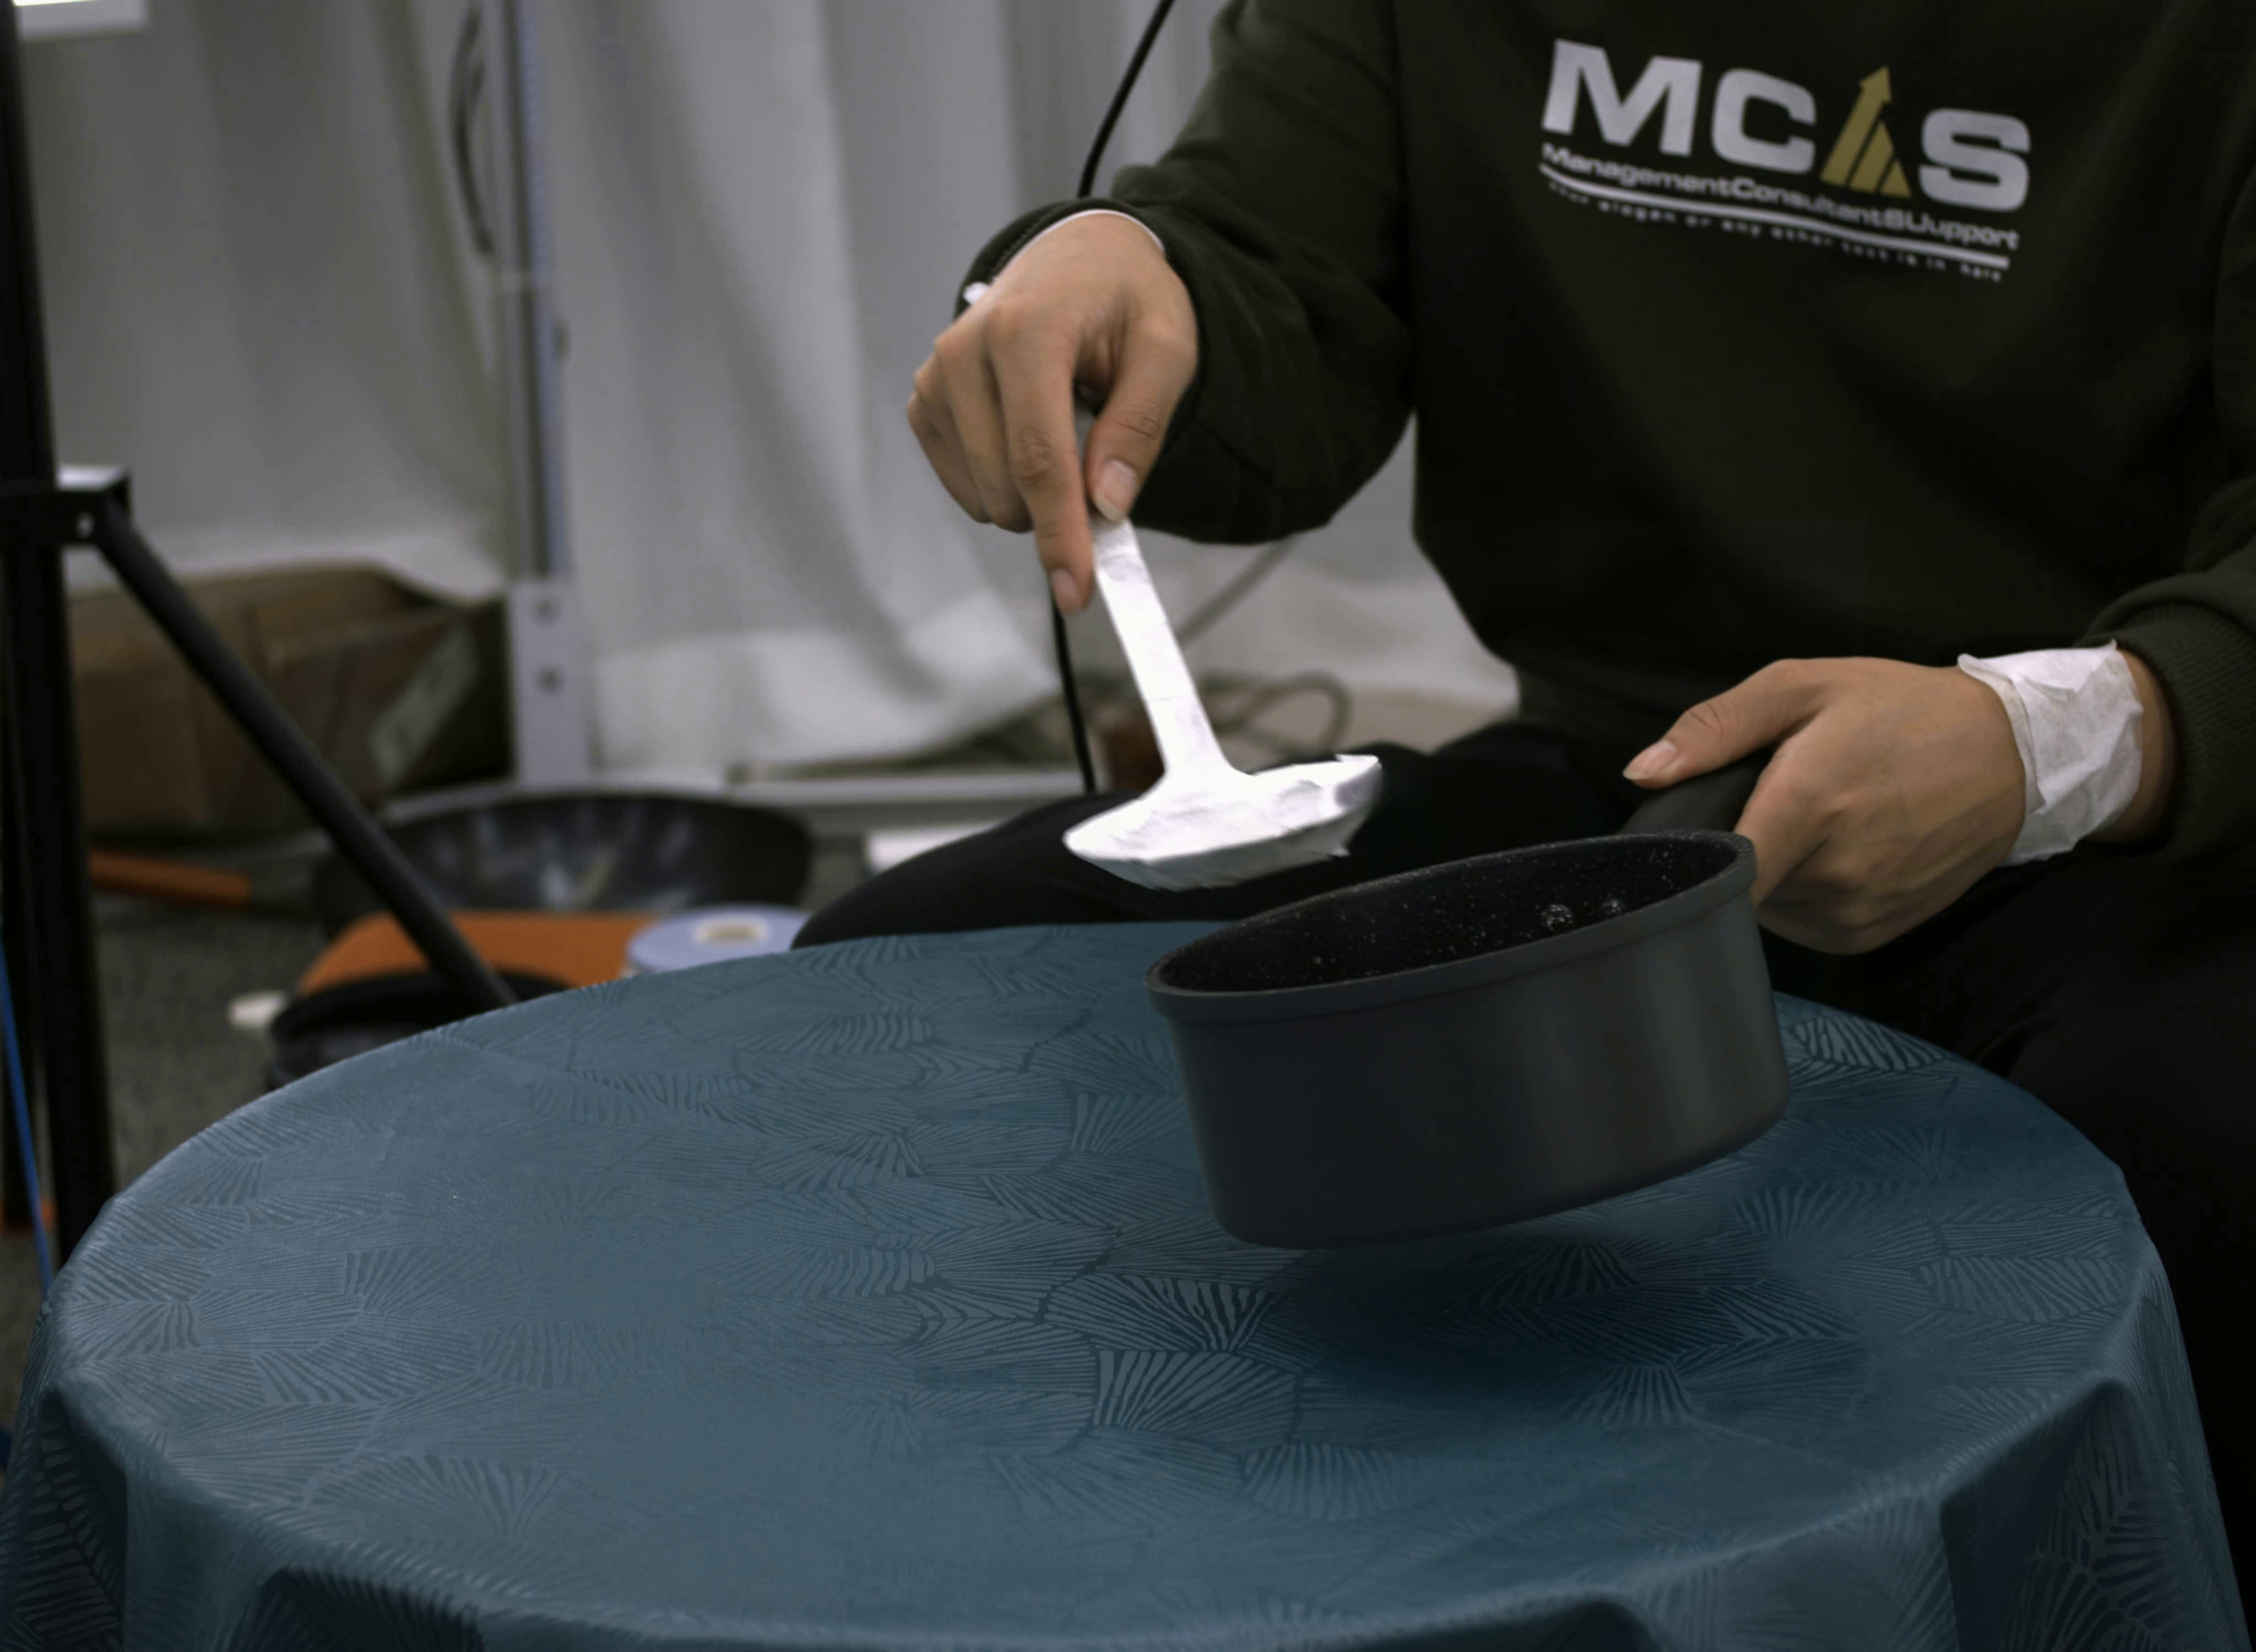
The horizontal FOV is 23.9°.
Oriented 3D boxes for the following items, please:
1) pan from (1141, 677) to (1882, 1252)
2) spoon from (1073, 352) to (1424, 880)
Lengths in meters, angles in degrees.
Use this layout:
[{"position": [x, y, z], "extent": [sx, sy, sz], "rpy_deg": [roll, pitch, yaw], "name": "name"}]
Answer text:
[{"position": [0.136, 0.037, 1.512], "extent": [0.175, 0.086, 0.322], "rpy_deg": [-6, 11, 36], "name": "pan"}, {"position": [0.018, -0.072, 1.540], "extent": [0.100, 0.059, 0.281], "rpy_deg": [-8, 43, -5], "name": "spoon"}]
